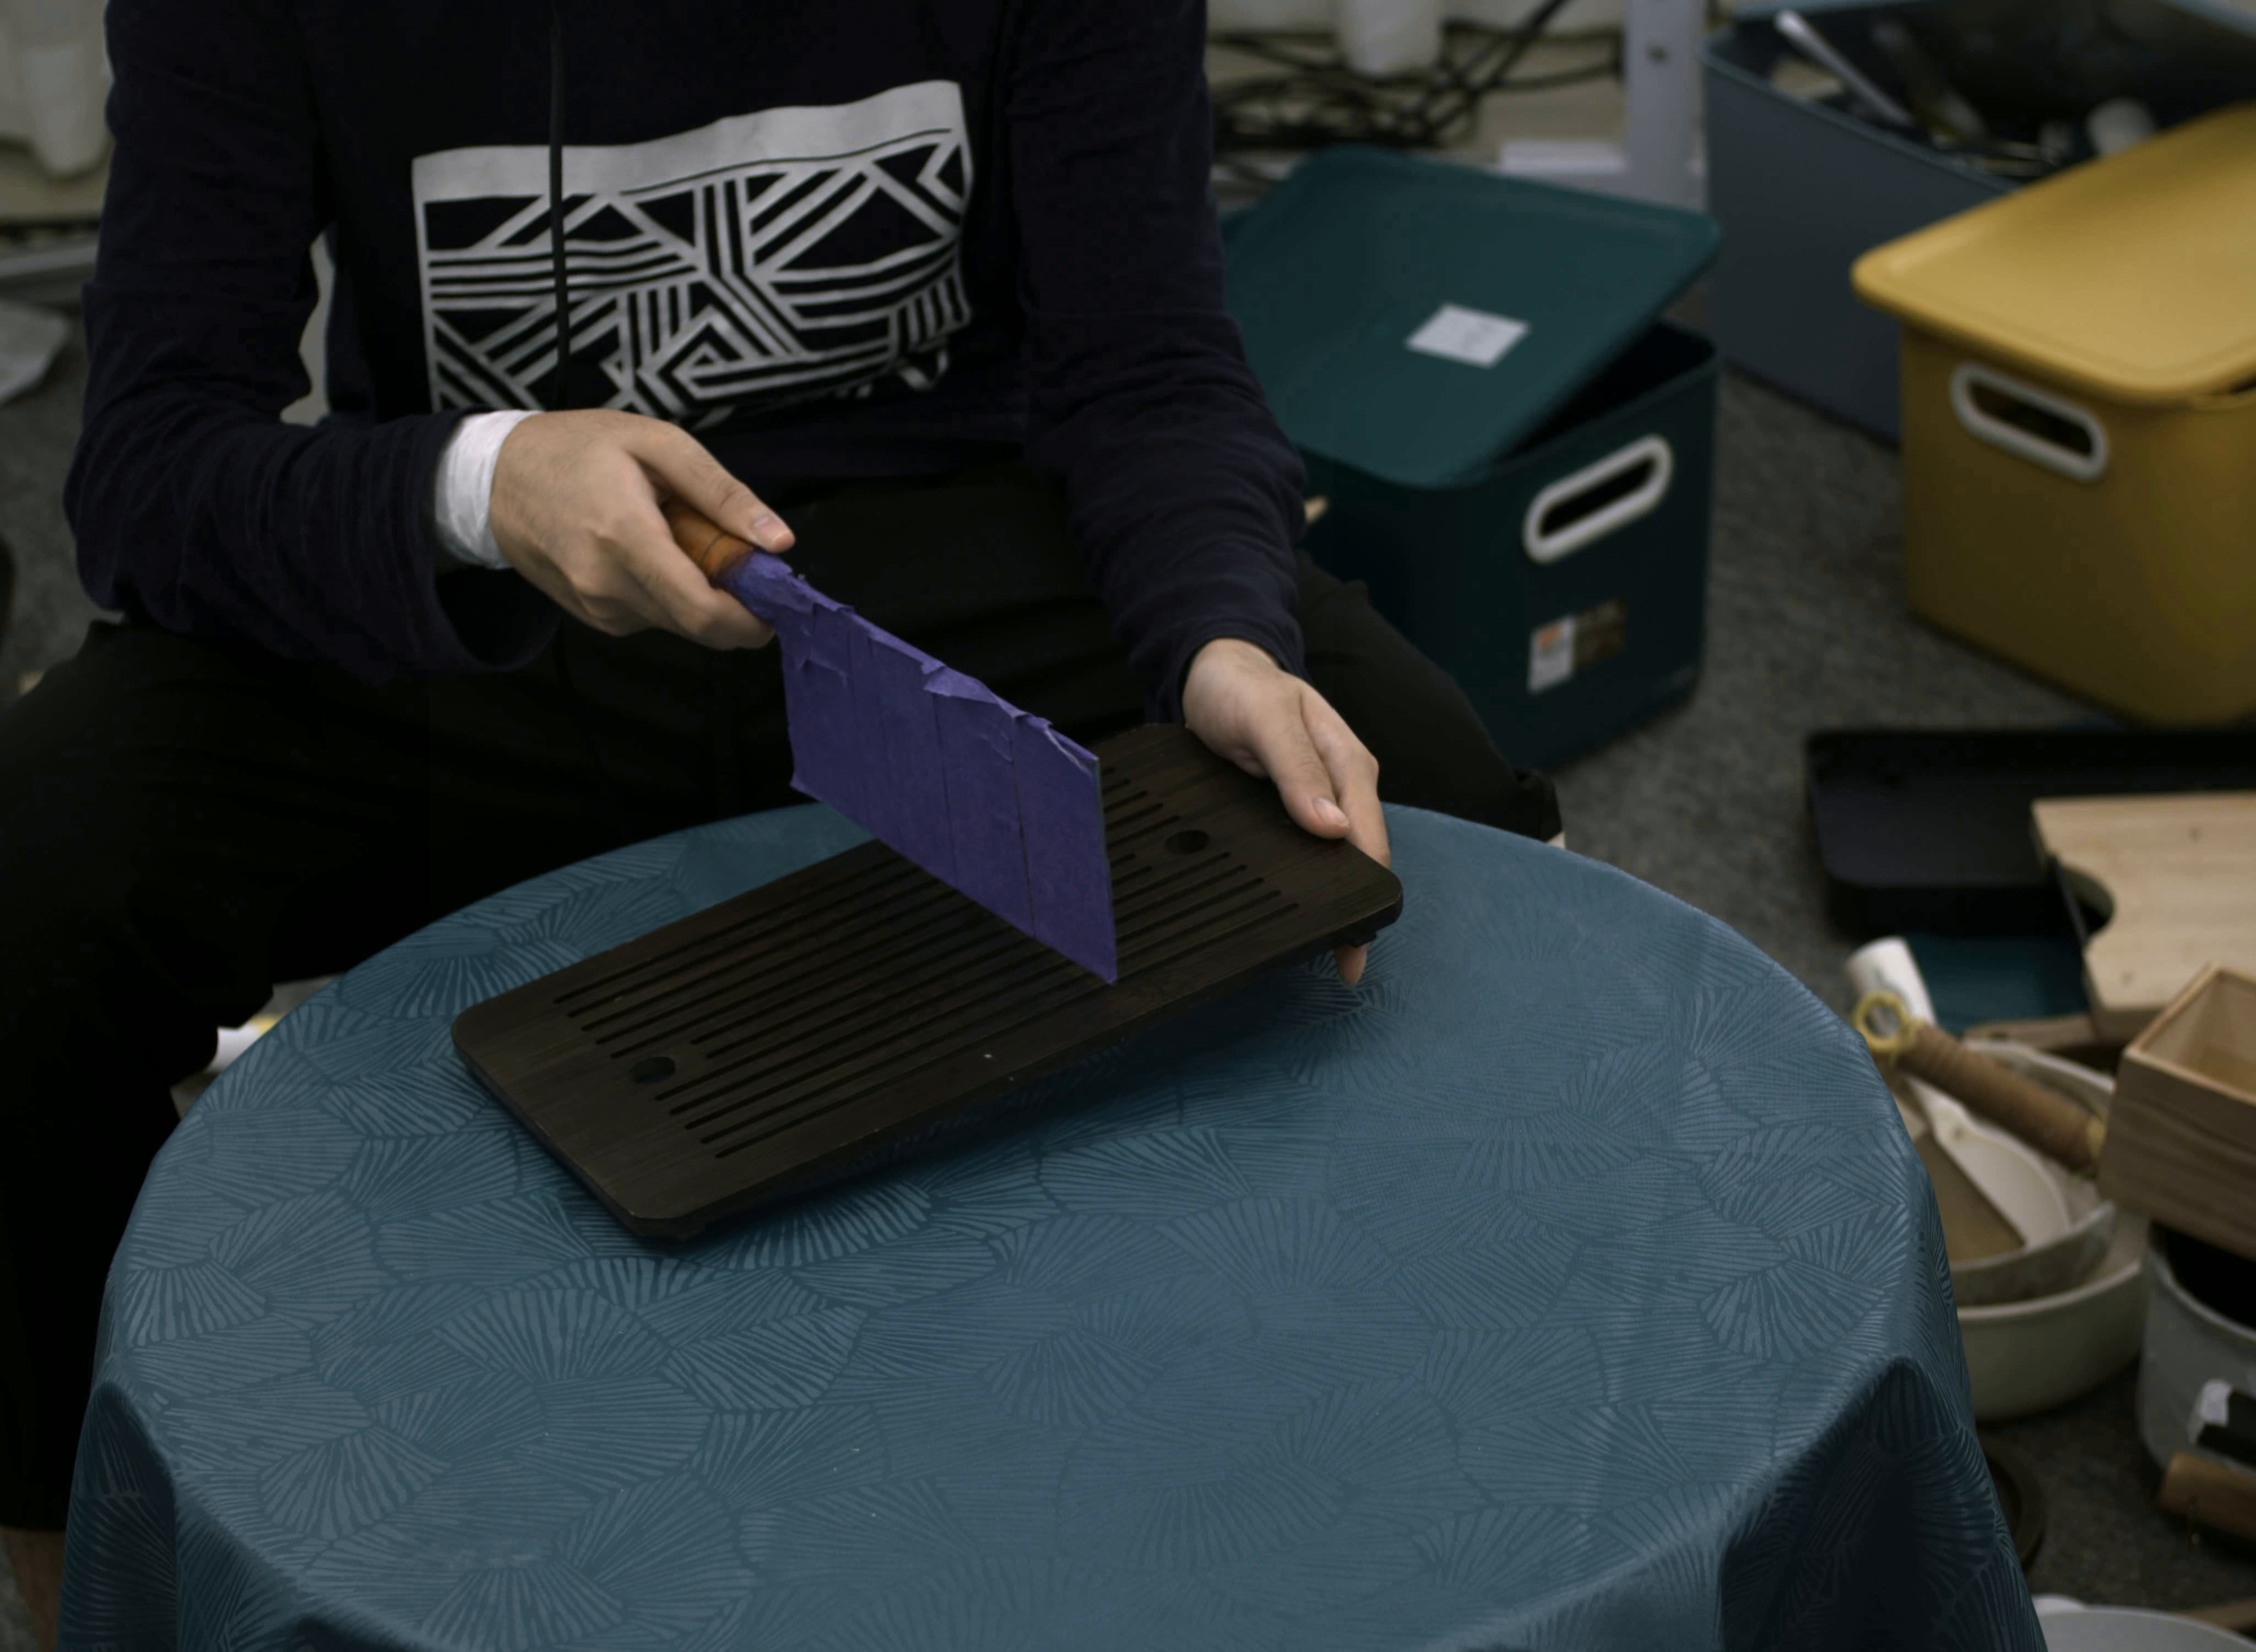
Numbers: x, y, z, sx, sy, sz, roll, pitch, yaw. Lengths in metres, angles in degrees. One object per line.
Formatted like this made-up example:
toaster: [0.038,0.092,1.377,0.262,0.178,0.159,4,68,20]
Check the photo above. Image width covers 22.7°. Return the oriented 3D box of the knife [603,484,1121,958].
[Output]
knife: [-0.098,-0.036,2.002,0.032,0.103,0.316,-18,29,-28]

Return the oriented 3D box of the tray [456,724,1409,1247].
tray: [-0.067,0.053,1.951,0.308,0.018,0.171,-23,33,-24]
